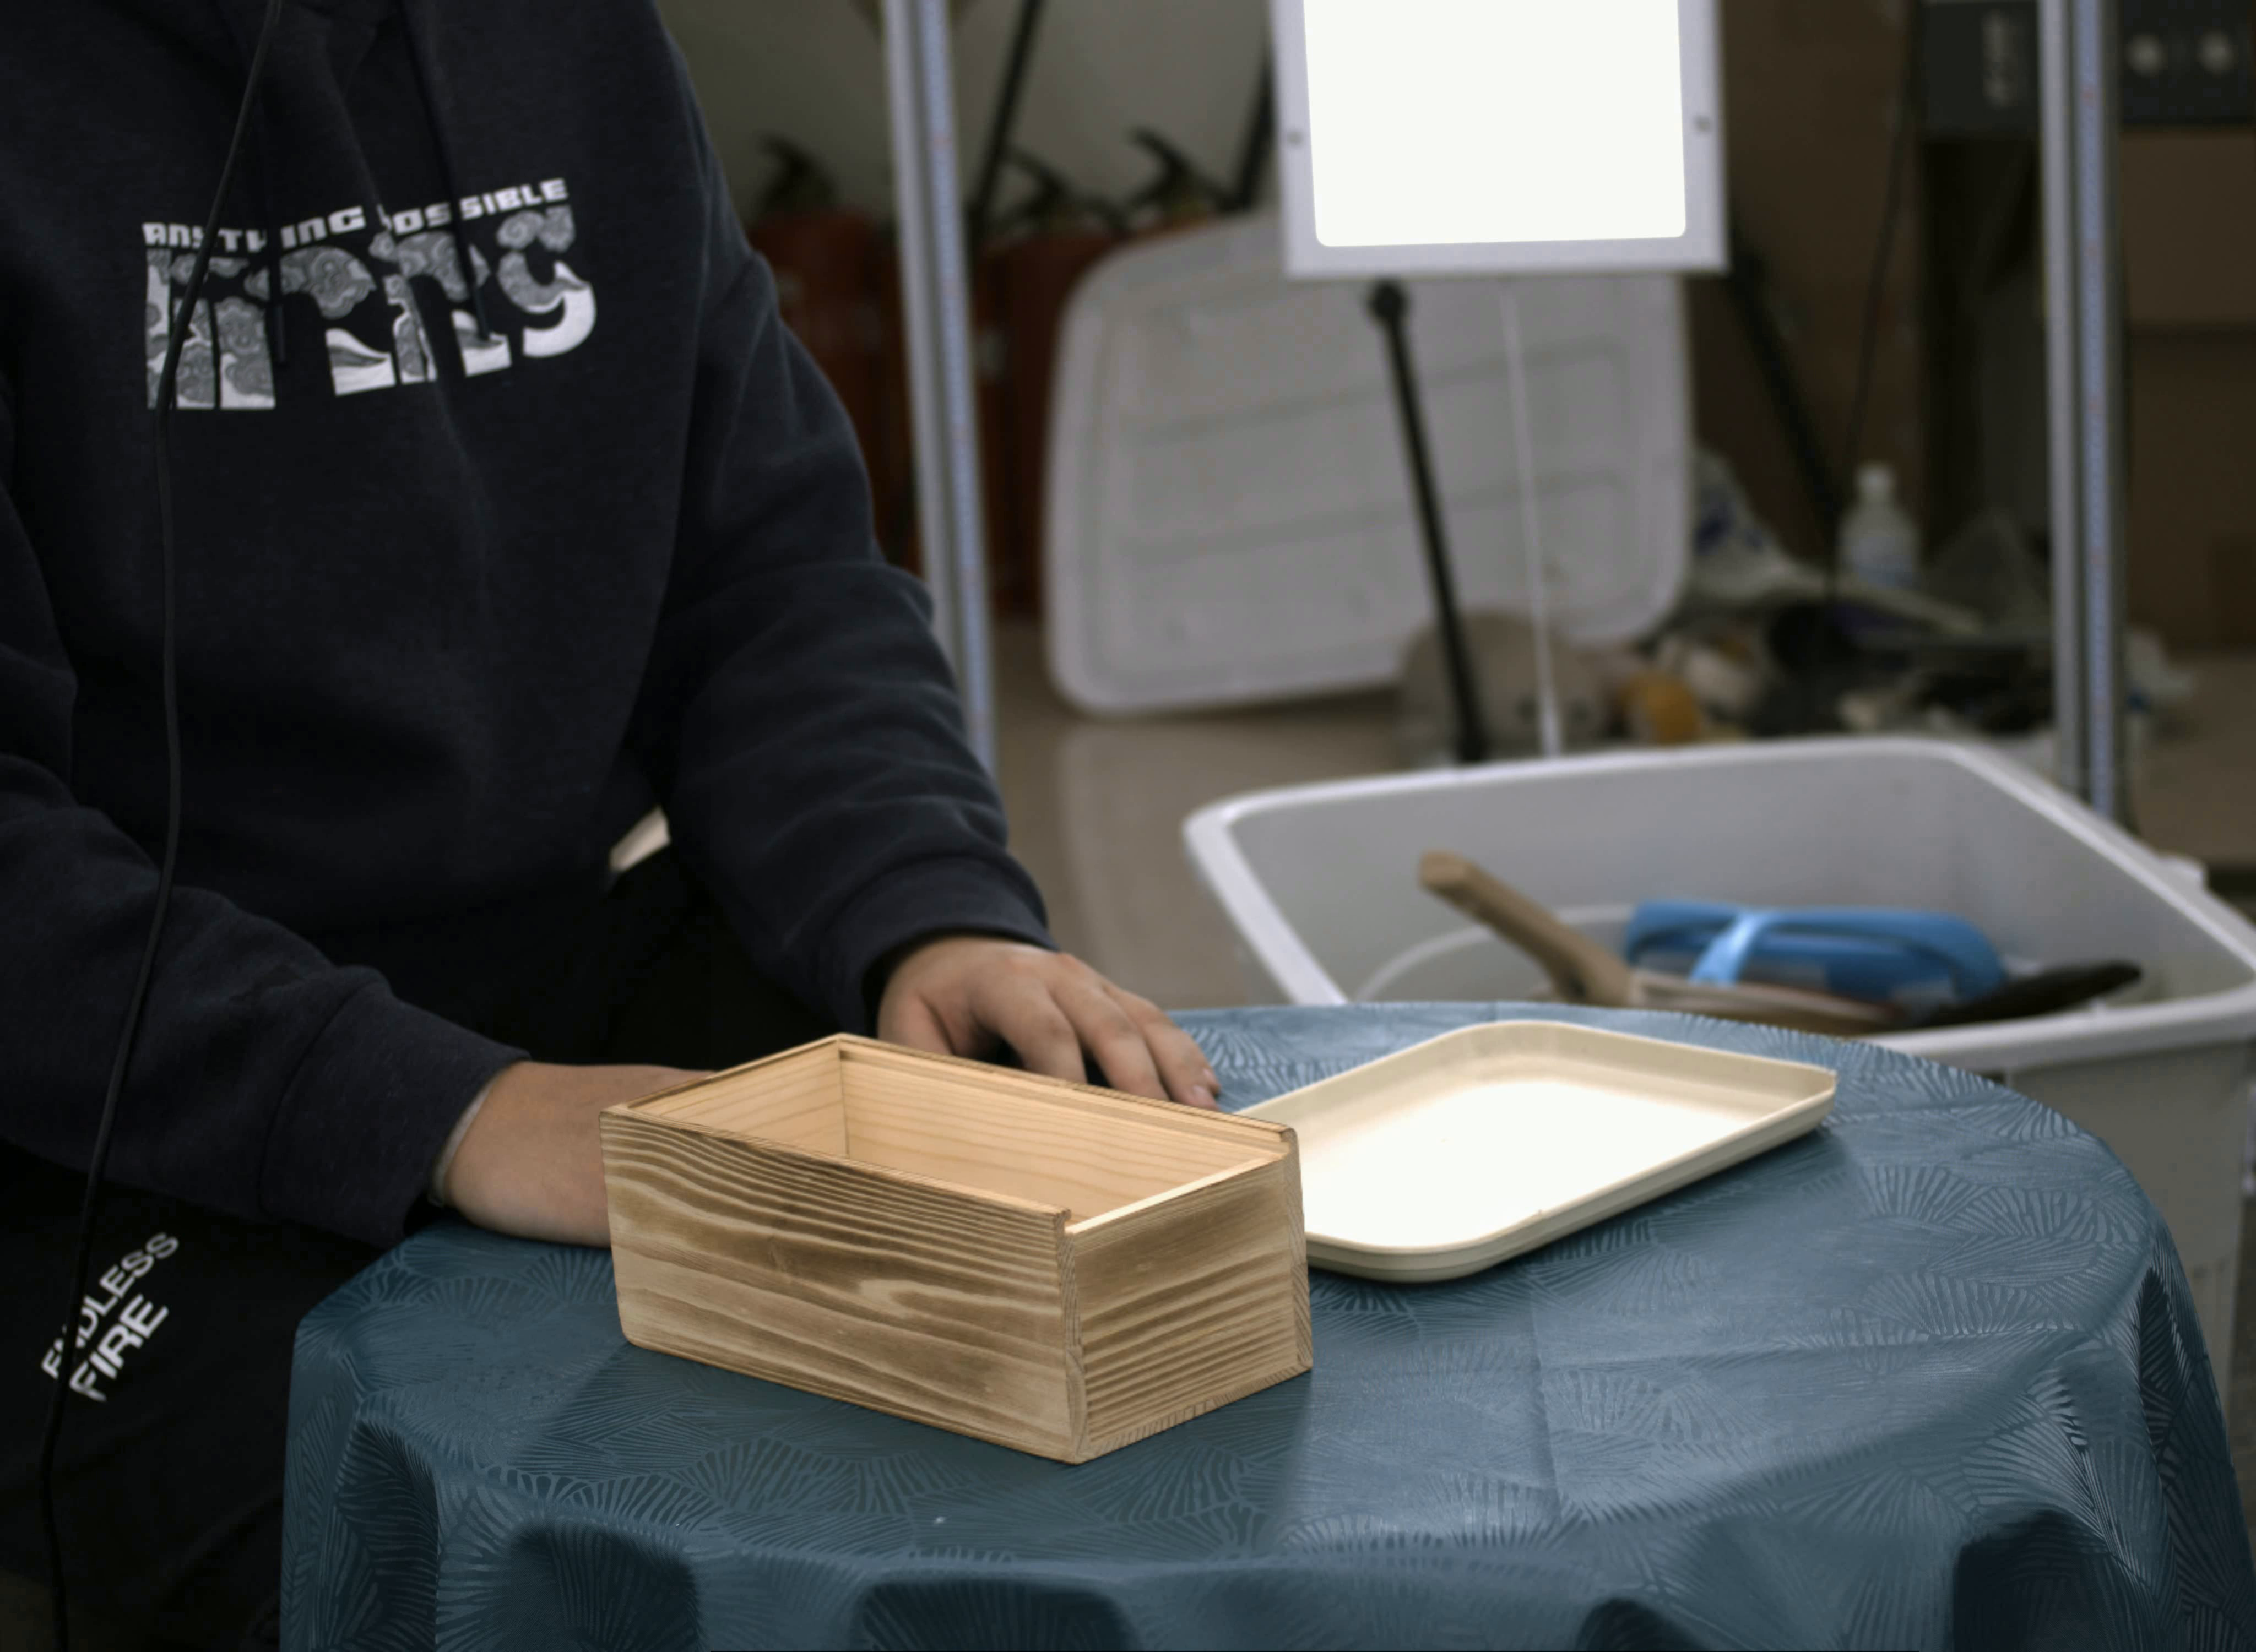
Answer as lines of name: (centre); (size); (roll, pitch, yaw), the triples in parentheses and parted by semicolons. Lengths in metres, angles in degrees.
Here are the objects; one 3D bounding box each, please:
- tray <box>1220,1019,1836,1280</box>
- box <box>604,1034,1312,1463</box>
tray: (0.118, 0.110, 1.887); (0.233, 0.017, 0.175); (-18, 18, -42)
box: (-0.056, 0.129, 1.737); (0.105, 0.080, 0.216); (-16, 17, -42)
